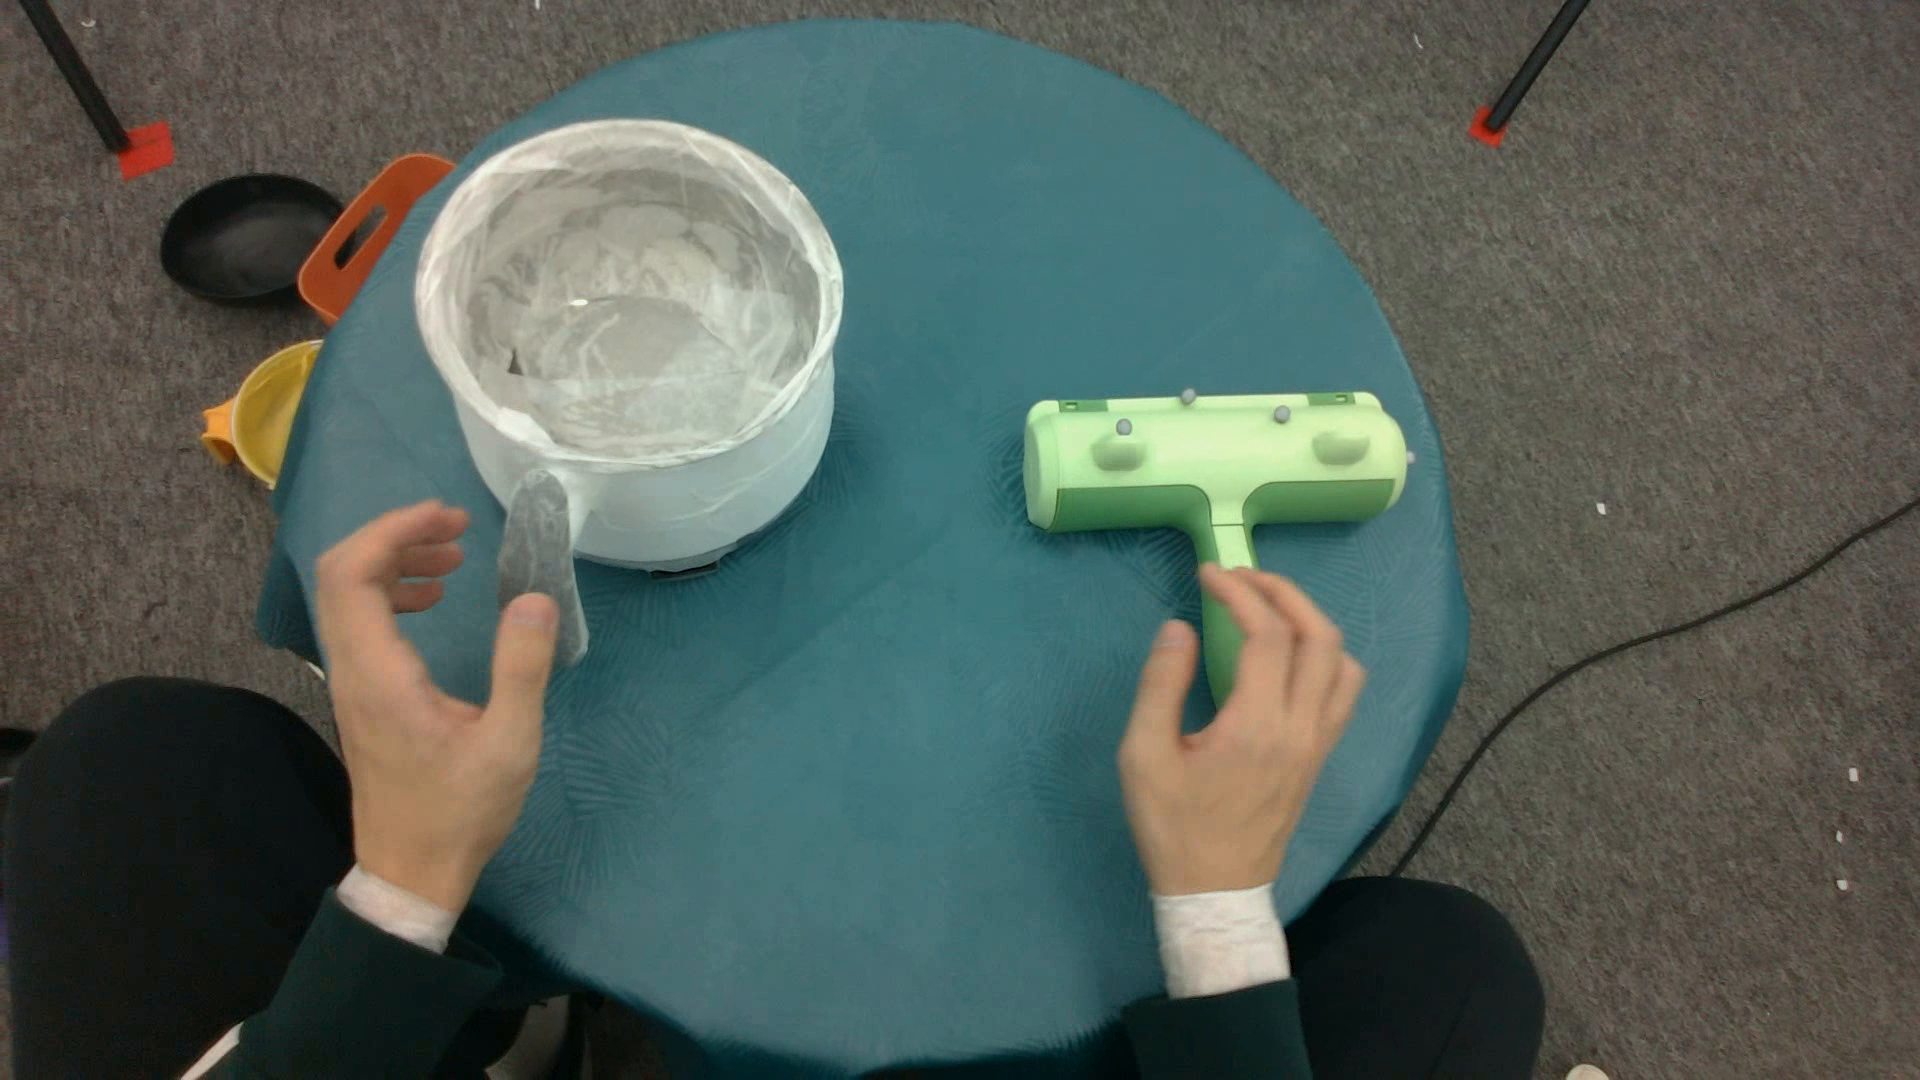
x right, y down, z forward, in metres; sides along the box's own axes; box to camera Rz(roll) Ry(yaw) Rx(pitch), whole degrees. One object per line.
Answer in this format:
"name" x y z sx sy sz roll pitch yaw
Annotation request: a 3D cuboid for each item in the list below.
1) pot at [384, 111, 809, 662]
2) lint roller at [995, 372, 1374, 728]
"pot" -0.168 -0.064 0.634 0.179 0.136 0.234 15 64 -1
"lint roller" 0.126 -0.004 0.690 0.199 0.082 0.184 -3 62 -11
